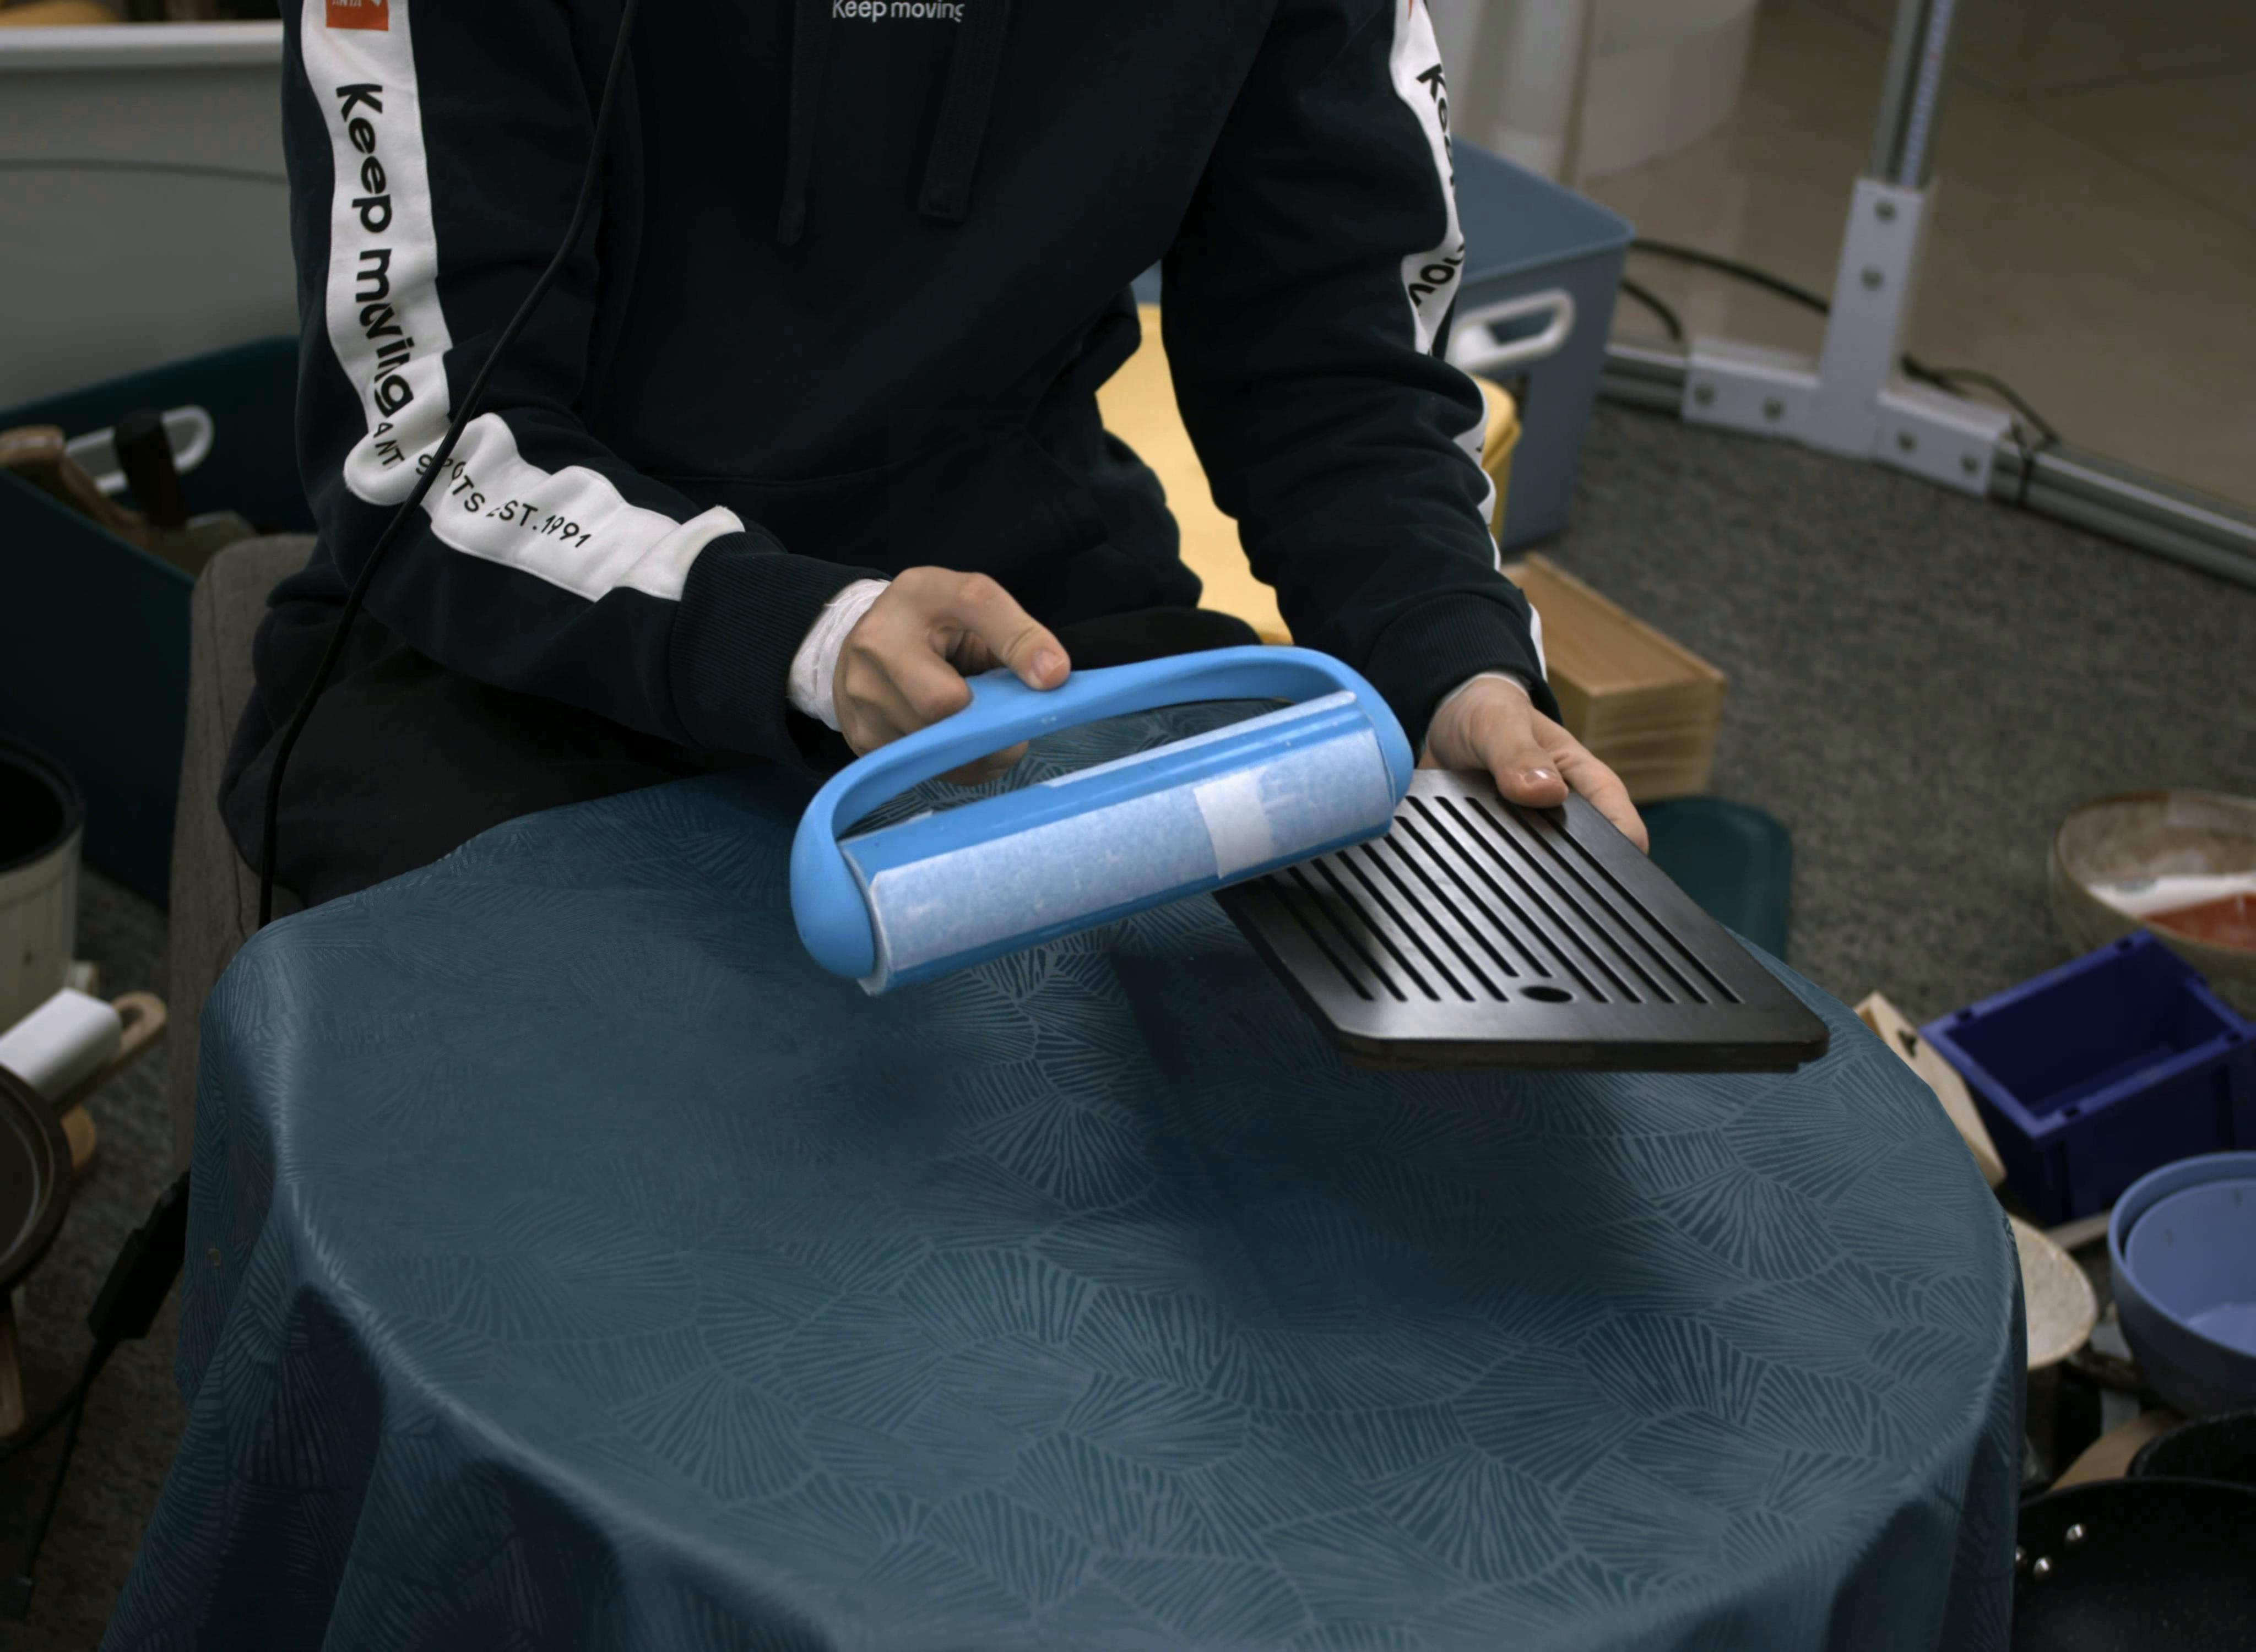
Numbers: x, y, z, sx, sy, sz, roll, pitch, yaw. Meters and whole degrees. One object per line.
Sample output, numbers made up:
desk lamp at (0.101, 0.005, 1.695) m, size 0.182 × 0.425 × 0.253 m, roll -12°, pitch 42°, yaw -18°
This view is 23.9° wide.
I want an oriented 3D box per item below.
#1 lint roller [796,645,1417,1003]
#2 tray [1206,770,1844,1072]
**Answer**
lint roller at (-0.033, -0.019, 1.850) m, size 0.228 × 0.067 × 0.182 m, roll -21°, pitch 32°, yaw -21°
tray at (0.117, 0.031, 1.839) m, size 0.169 × 0.018 × 0.308 m, roll 1°, pitch 17°, yaw -14°
